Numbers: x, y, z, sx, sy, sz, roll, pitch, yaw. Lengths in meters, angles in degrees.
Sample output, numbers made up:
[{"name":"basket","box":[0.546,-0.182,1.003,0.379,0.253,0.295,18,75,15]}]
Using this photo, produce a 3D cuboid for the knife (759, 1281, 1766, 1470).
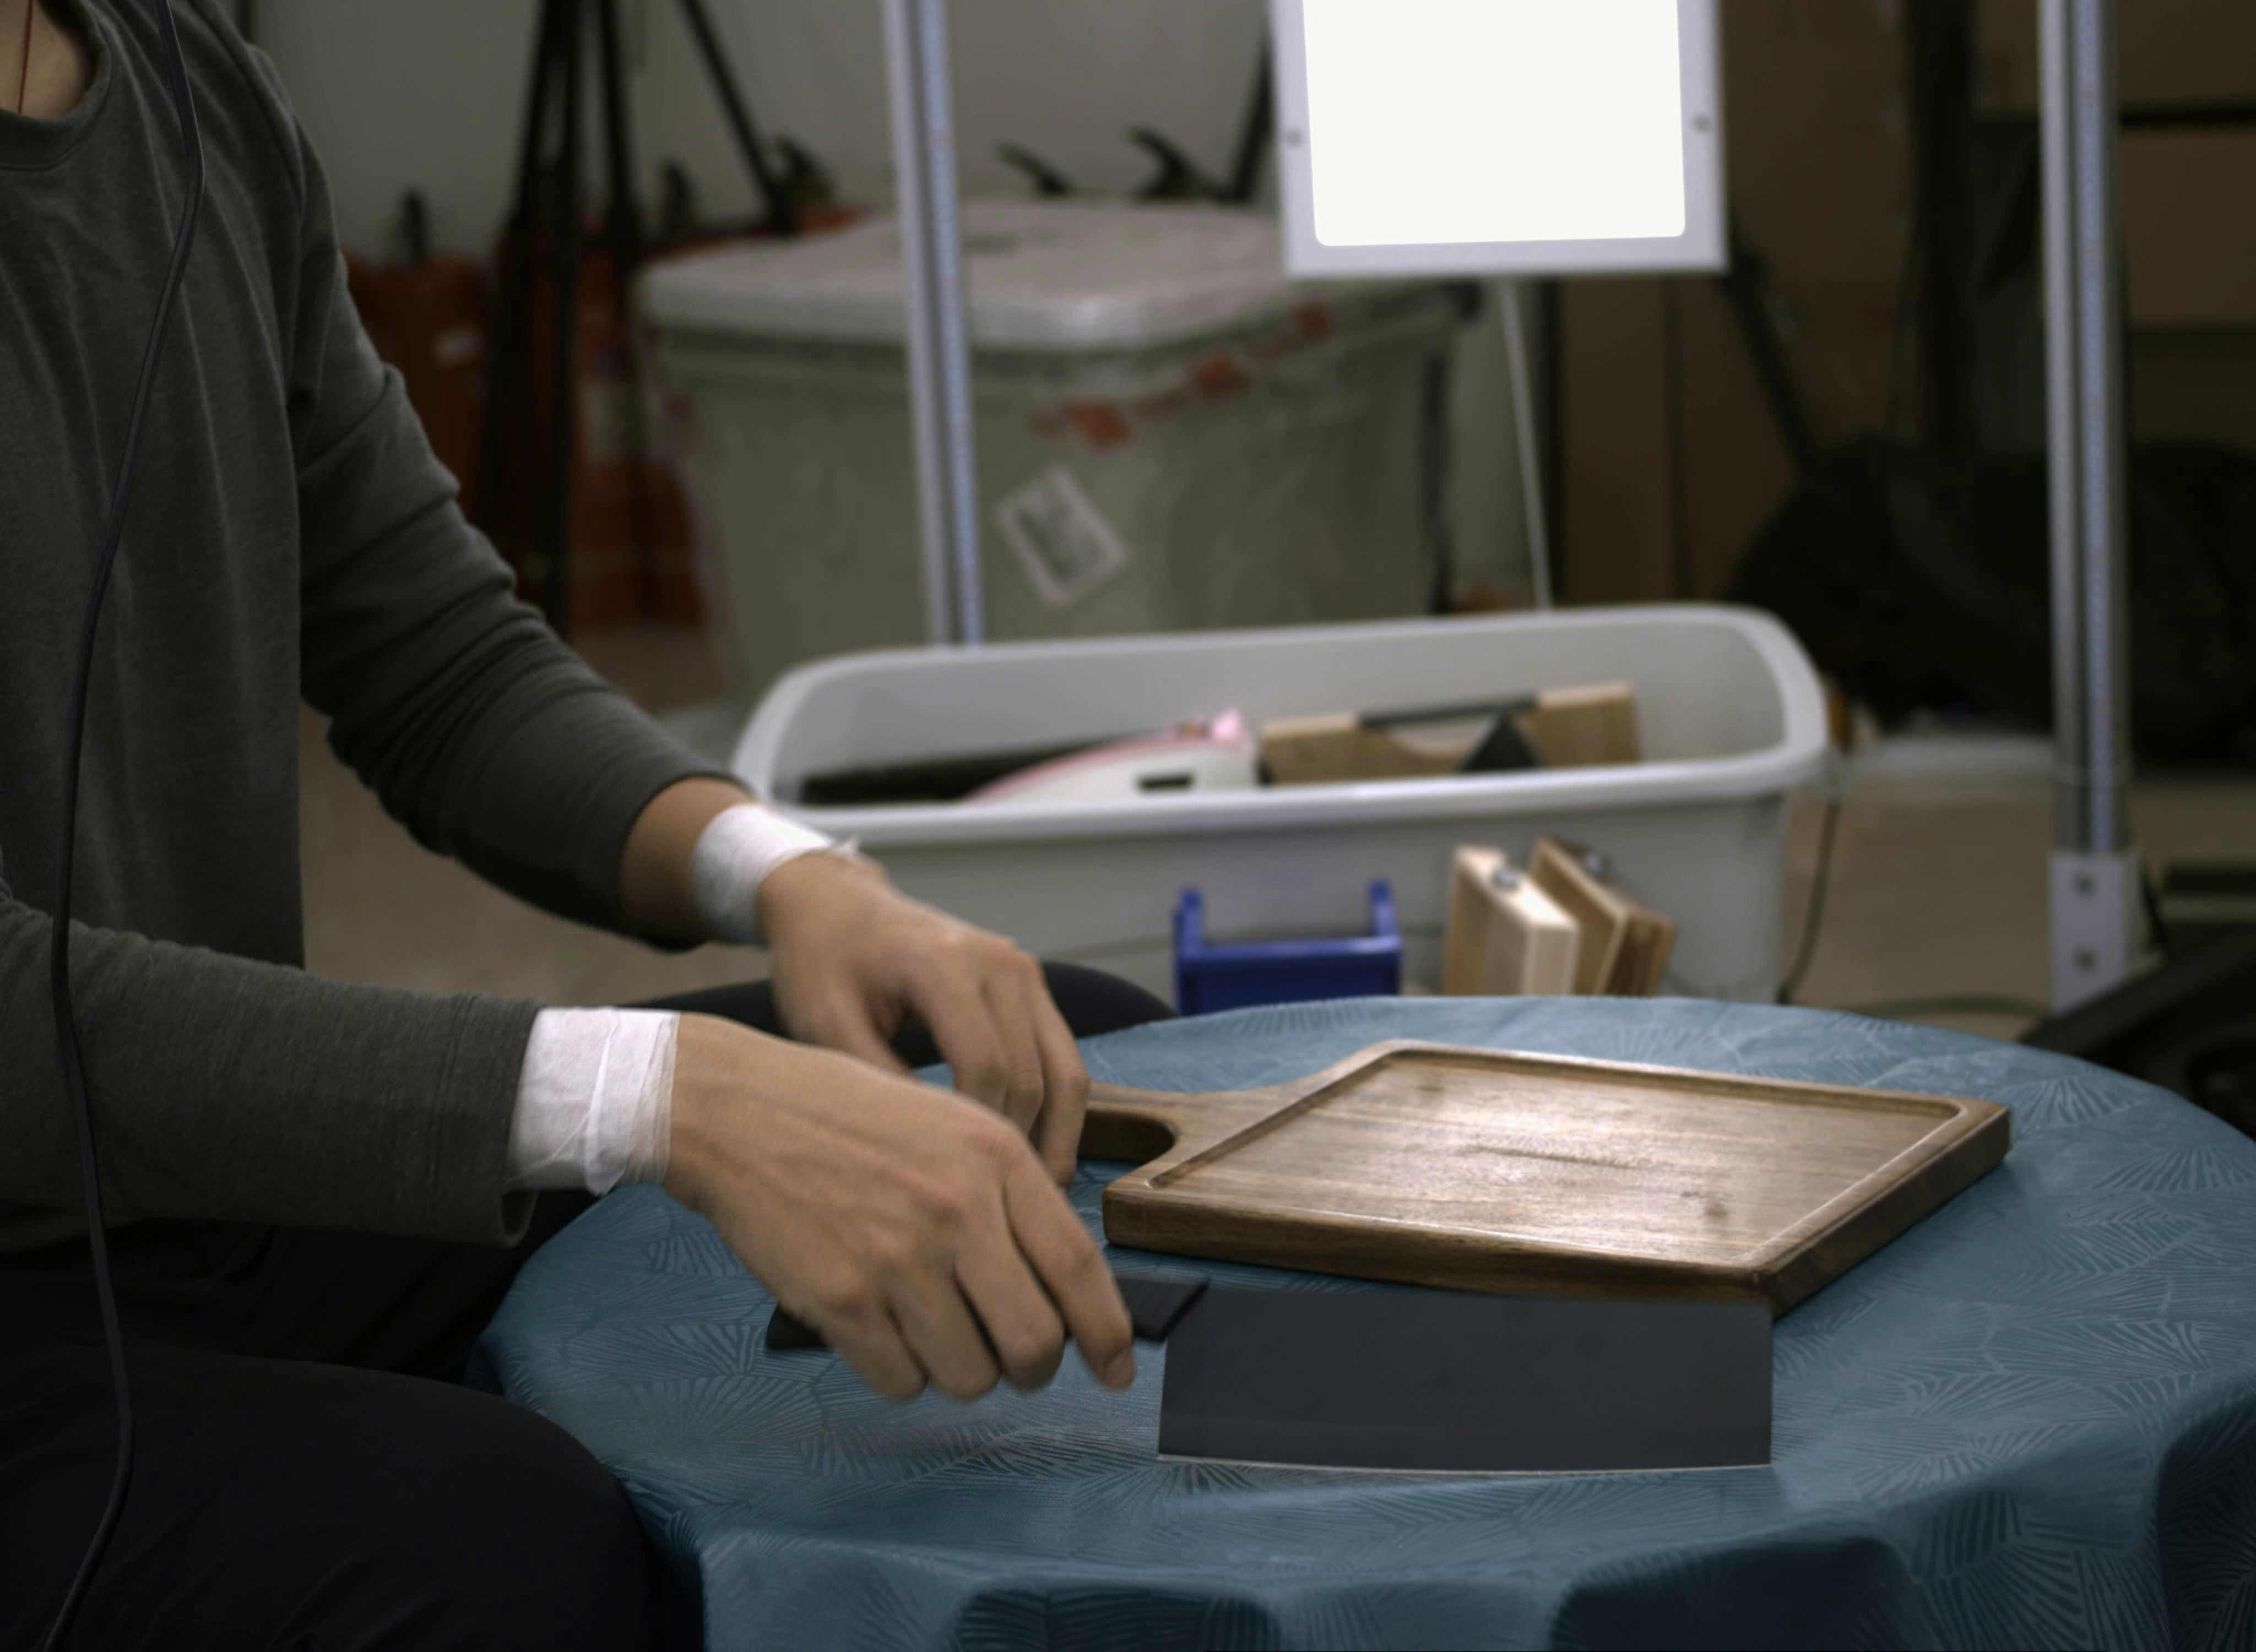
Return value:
[{"name":"knife","box":[0.040,0.163,1.635,0.304,0.021,0.080,3,40,11]}]

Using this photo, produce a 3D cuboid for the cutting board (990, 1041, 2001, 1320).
[{"name":"cutting board","box":[0.104,0.112,1.877,0.359,0.023,0.196,4,16,34]}]
